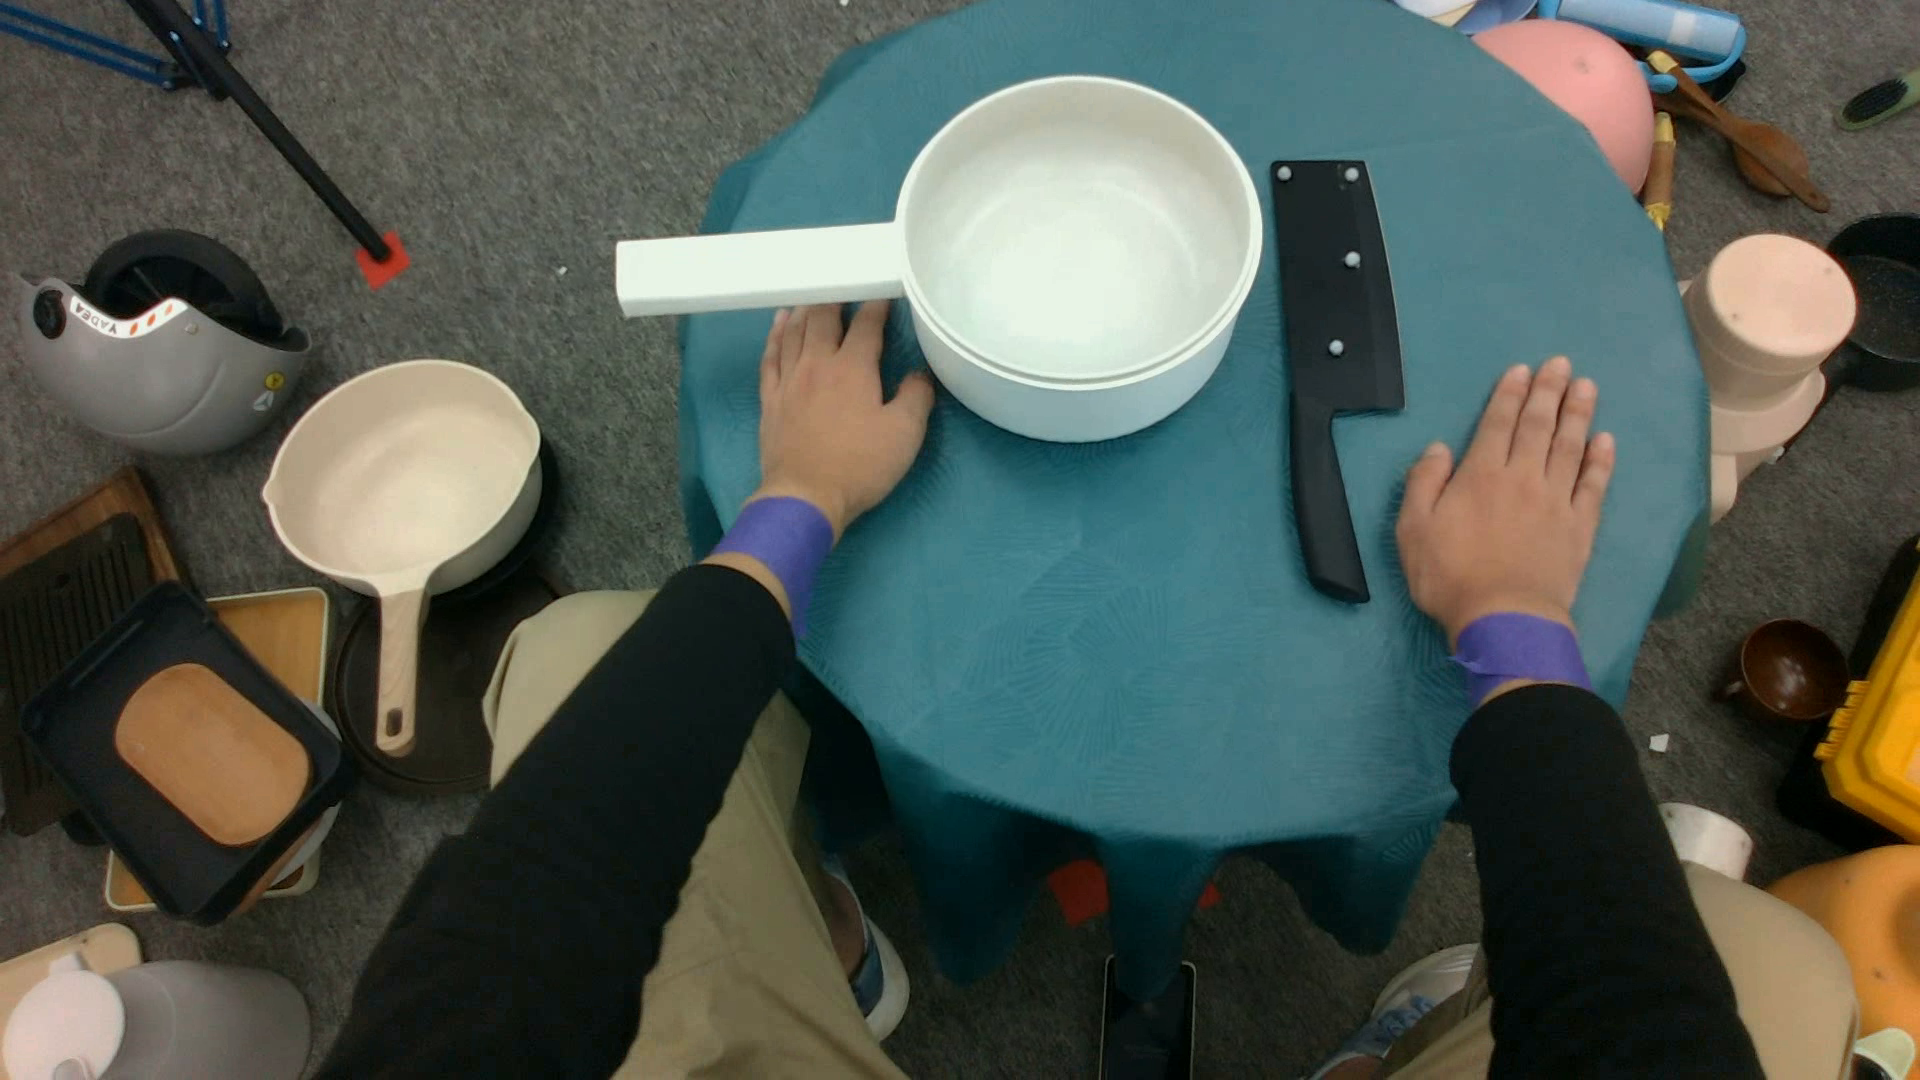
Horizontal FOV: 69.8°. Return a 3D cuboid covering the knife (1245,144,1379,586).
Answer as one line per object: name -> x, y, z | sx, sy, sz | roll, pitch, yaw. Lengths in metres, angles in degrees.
knife -> 0.209, -0.115, 0.819 | 0.081, 0.021, 0.303 | 4, 66, 3

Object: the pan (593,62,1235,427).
pan -> -0.025, -0.158, 0.798 | 0.355, 0.102, 0.202 | -5, 69, 1
